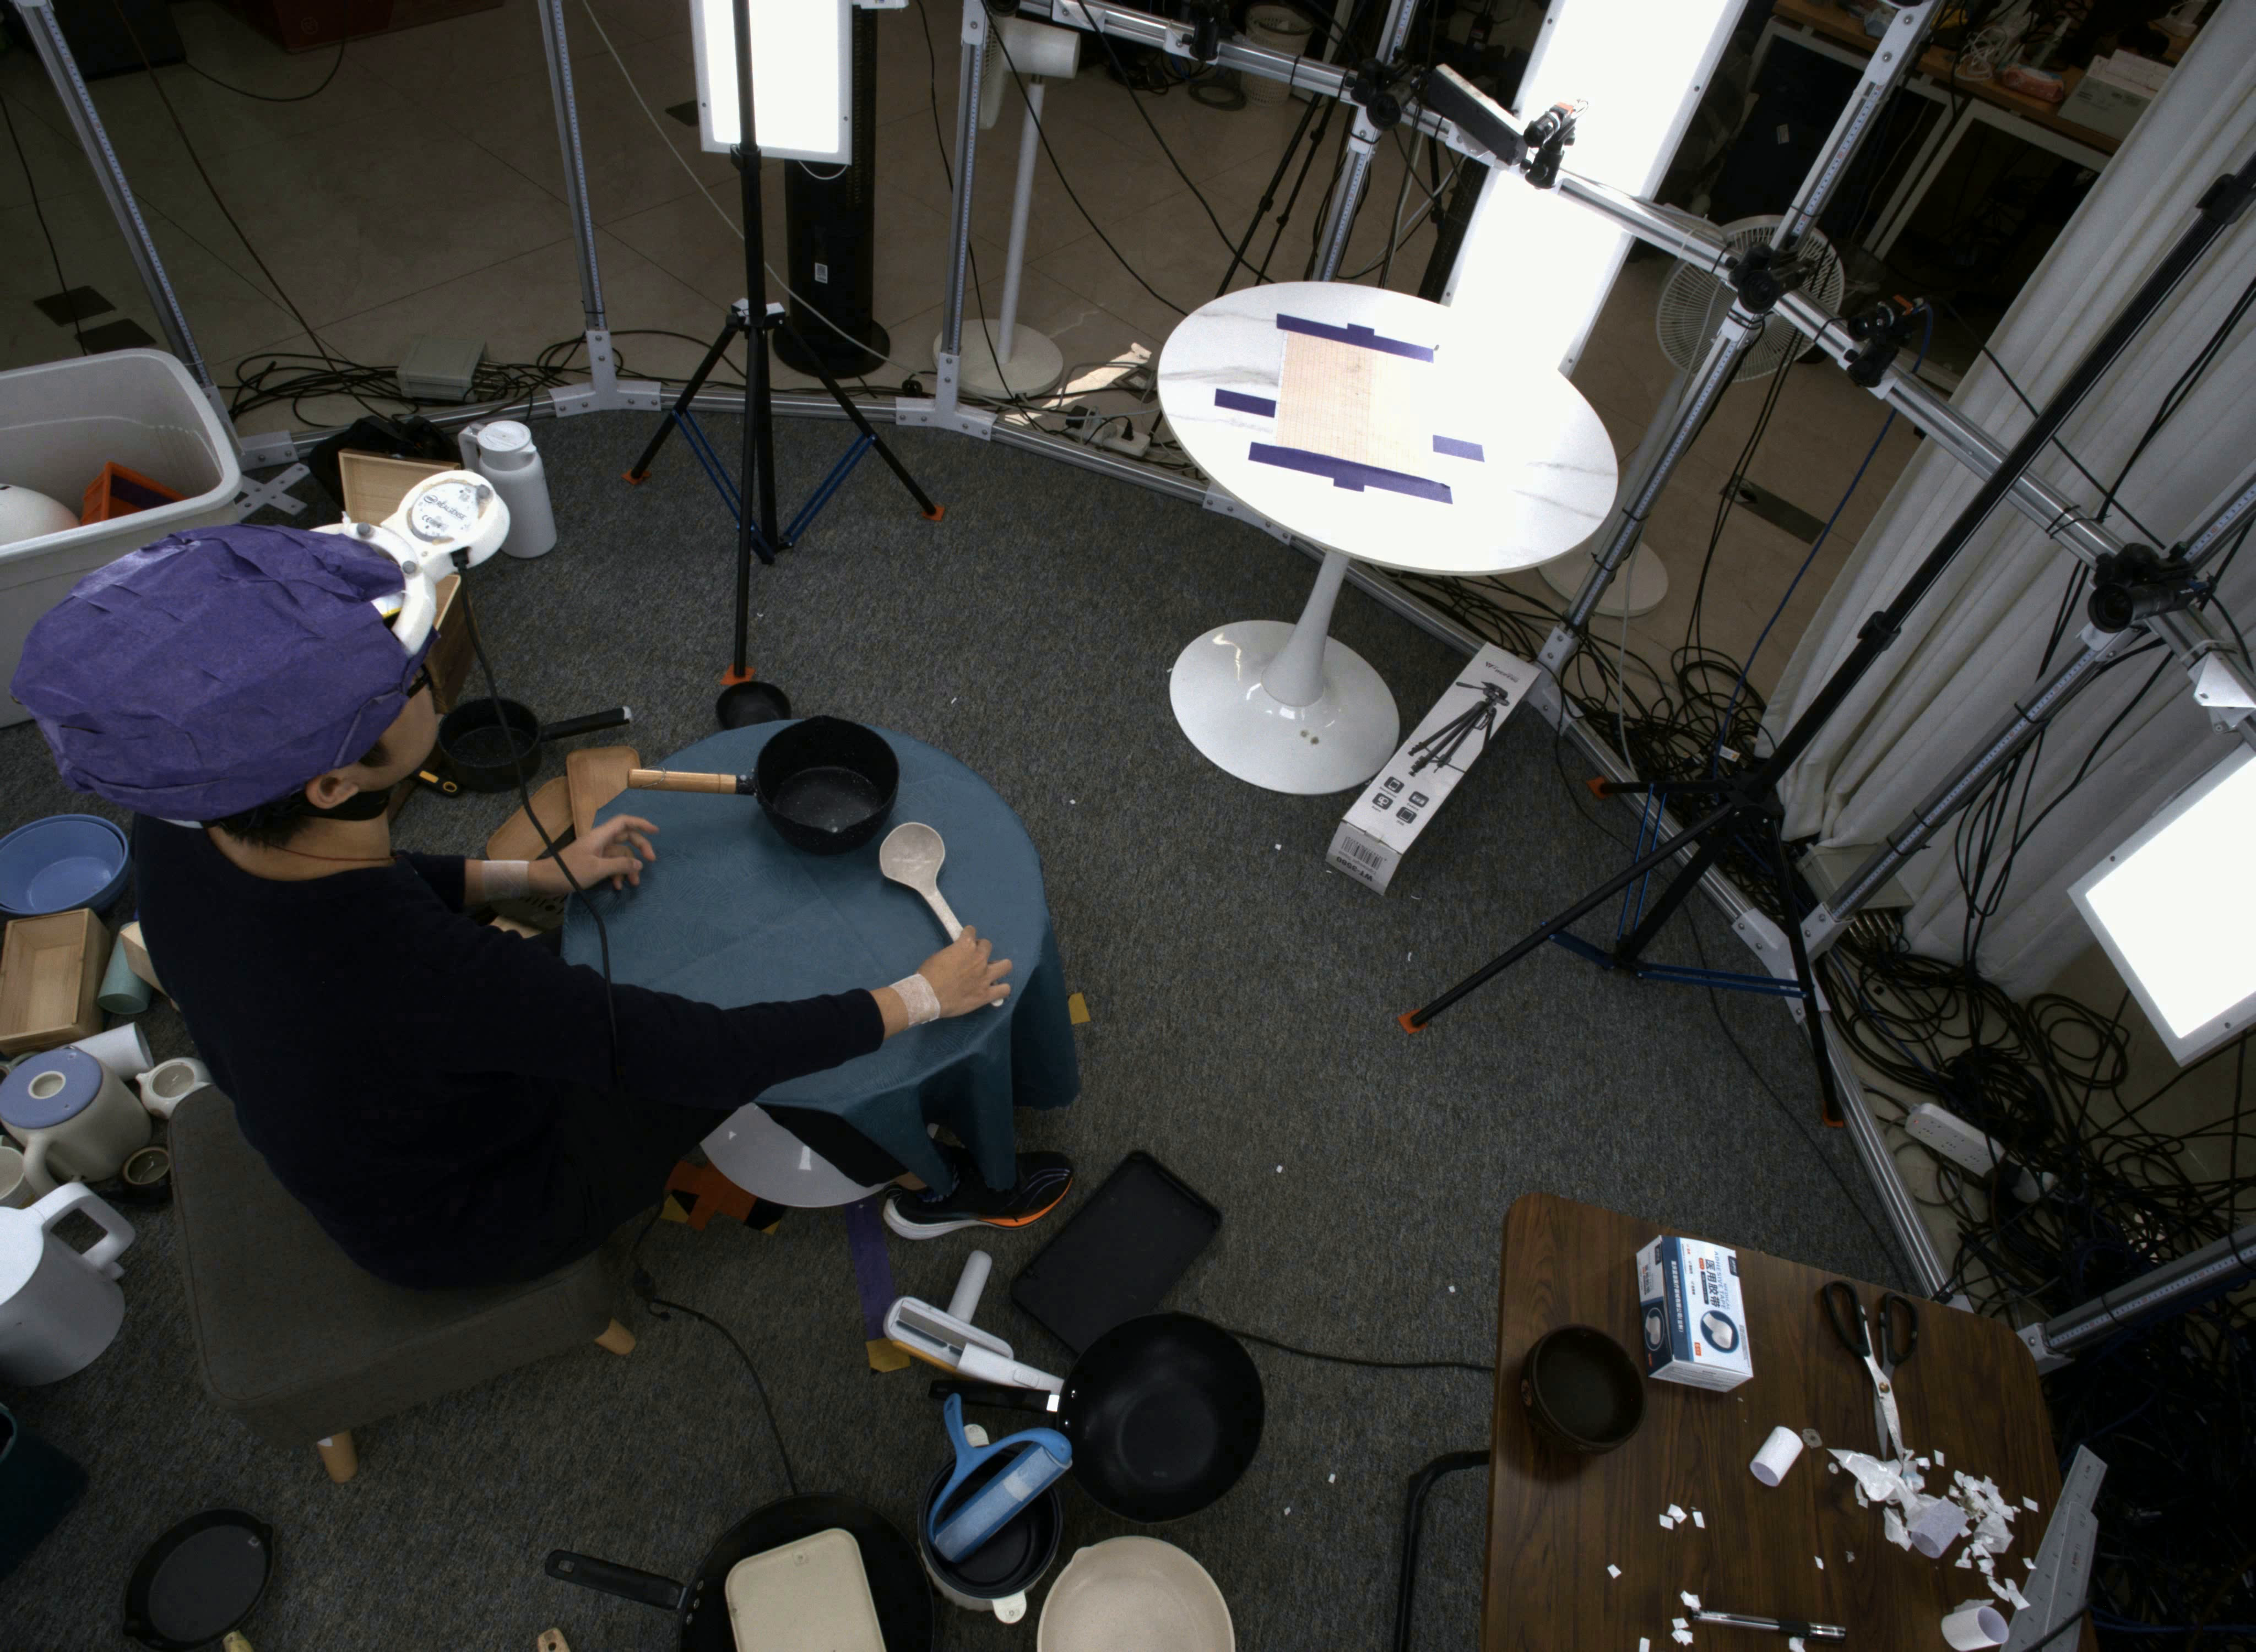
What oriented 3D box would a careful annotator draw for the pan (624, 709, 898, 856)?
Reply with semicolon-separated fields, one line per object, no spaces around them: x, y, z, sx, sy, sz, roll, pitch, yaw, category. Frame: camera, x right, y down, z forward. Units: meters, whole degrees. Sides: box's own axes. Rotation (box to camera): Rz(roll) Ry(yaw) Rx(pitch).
-0.469;-0.047;1.667;0.344;0.110;0.203;-5;56;-20;pan

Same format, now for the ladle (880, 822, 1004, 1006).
-0.222;0.104;1.629;0.090;0.071;0.266;-16;51;-34;ladle
